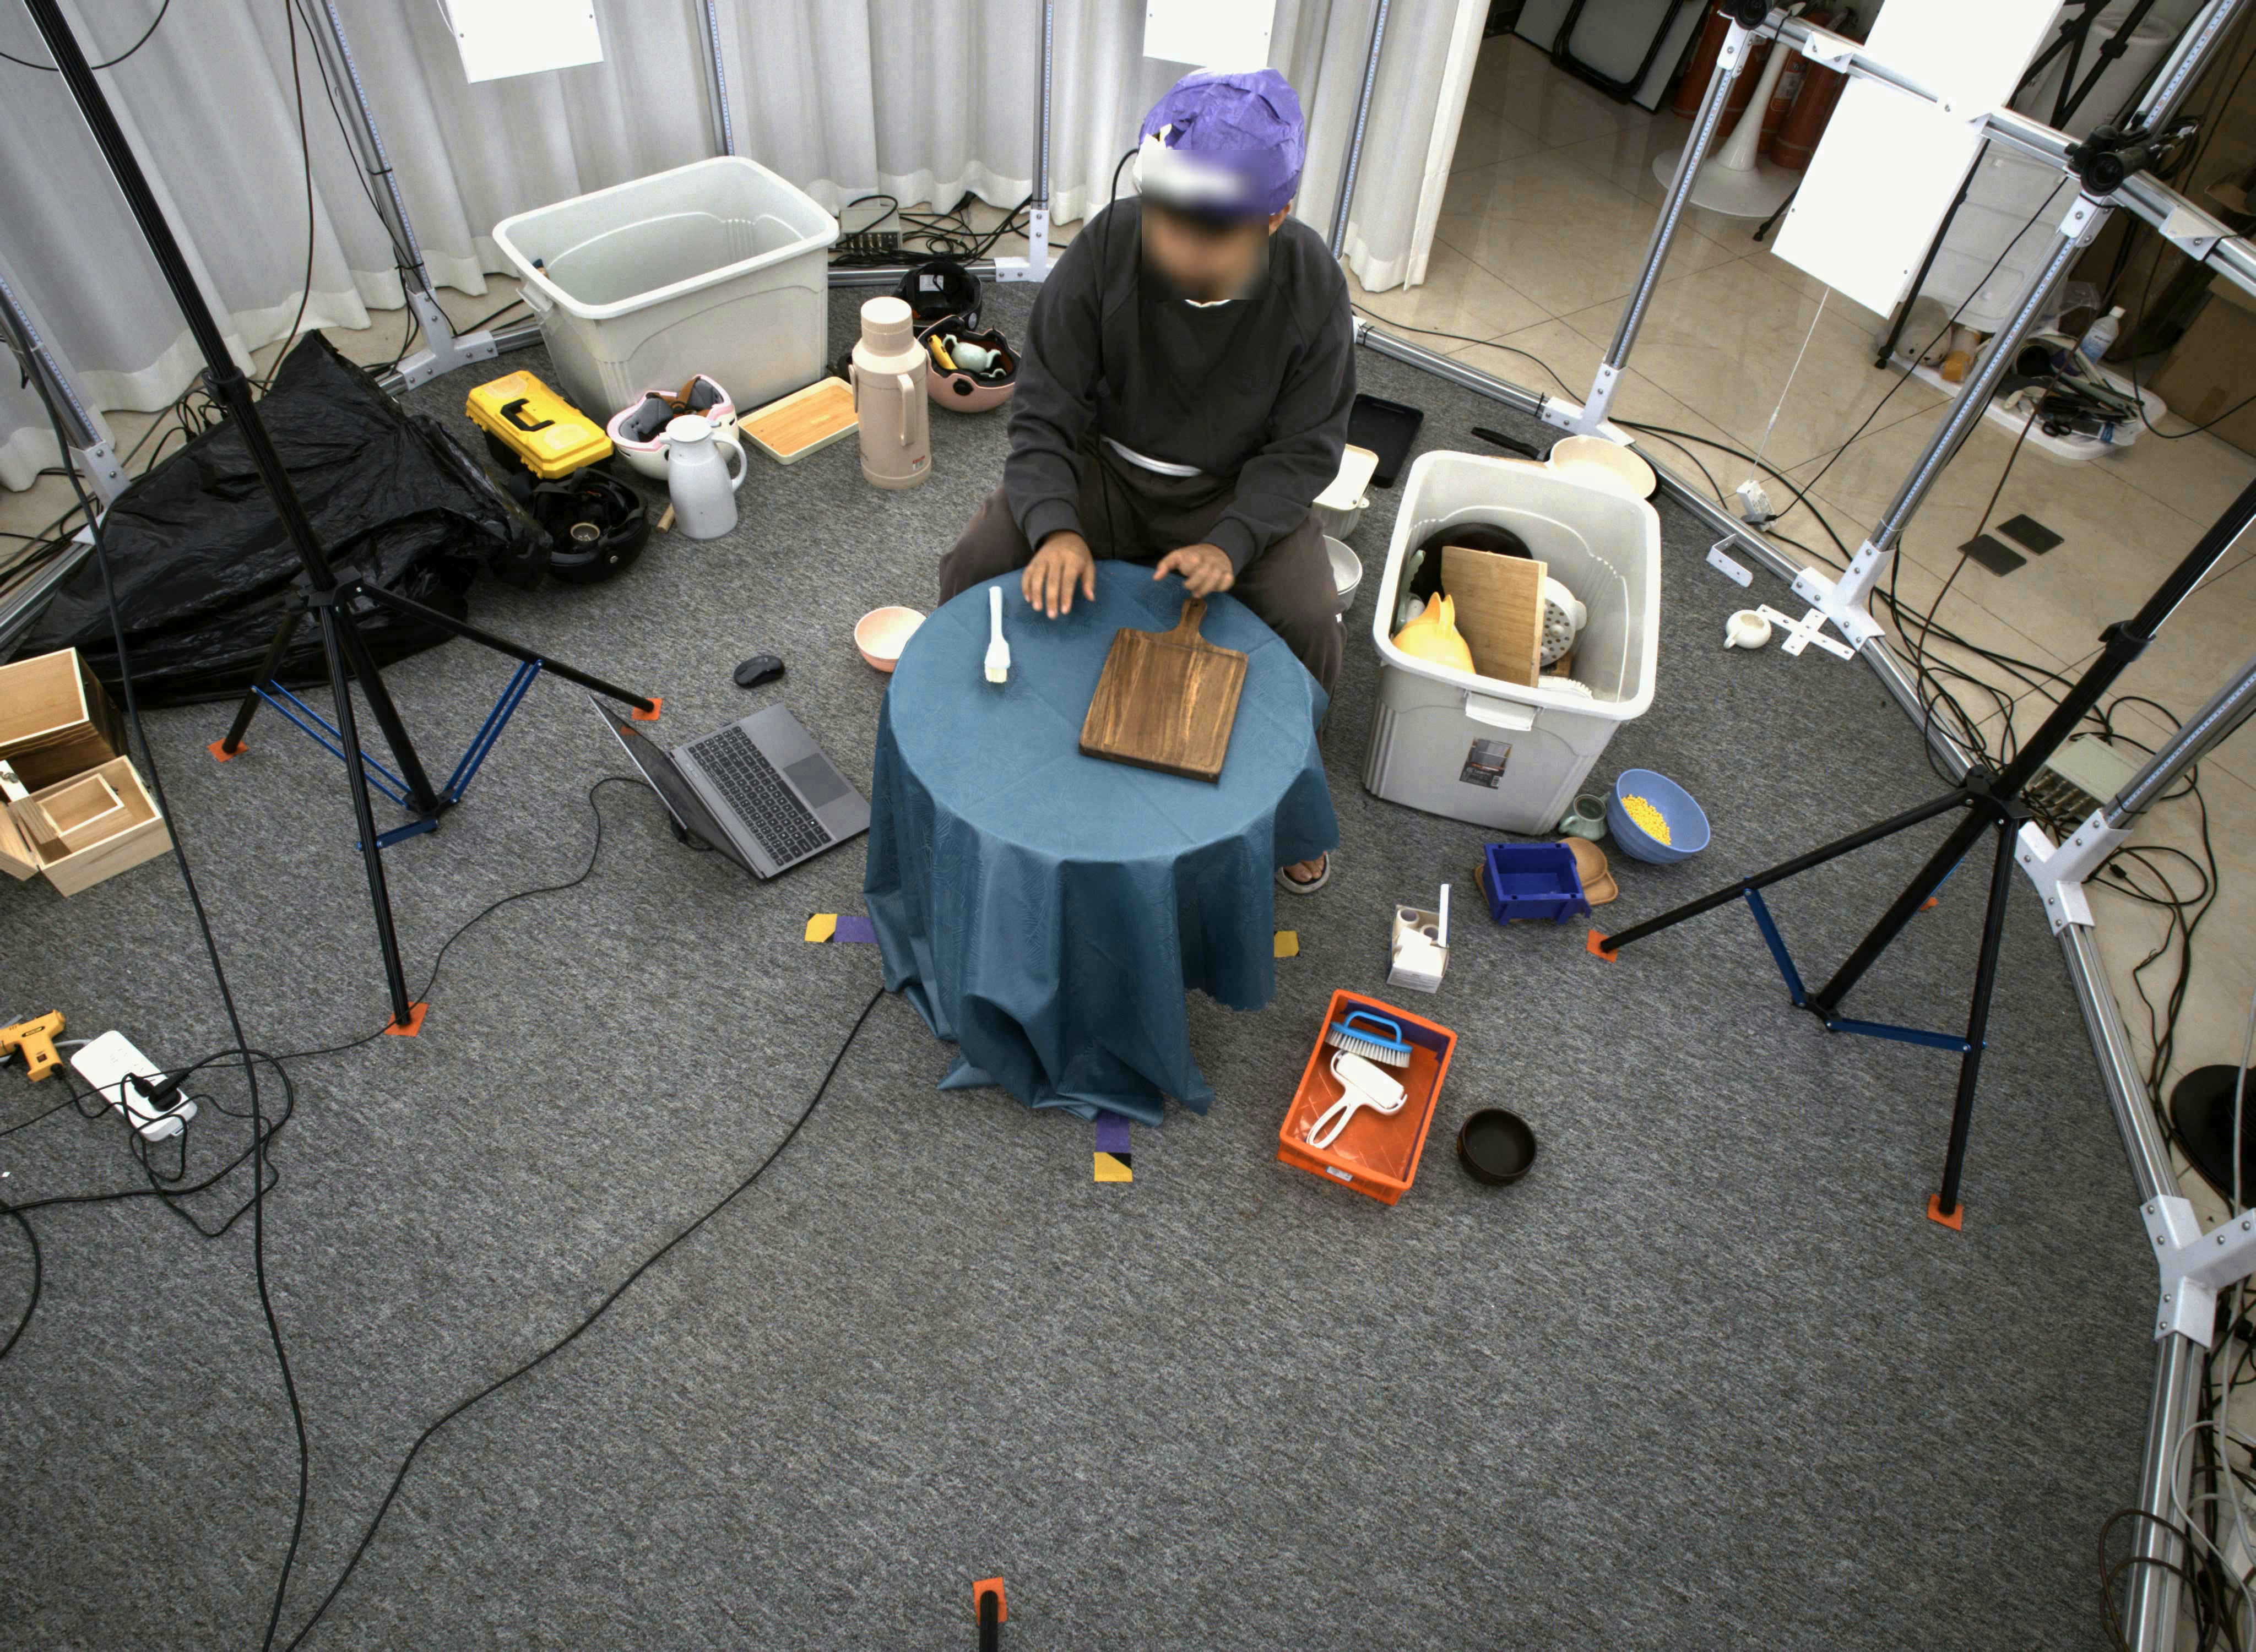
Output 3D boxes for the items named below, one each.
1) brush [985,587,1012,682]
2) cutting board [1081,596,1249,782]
[{"bbox_3d":[-0.193,-0.282,1.875,0.037,0.048,0.234,3,40,-11],"label":"brush"},{"bbox_3d":[0.067,-0.213,1.842,0.201,0.022,0.360,12,49,6],"label":"cutting board"}]
